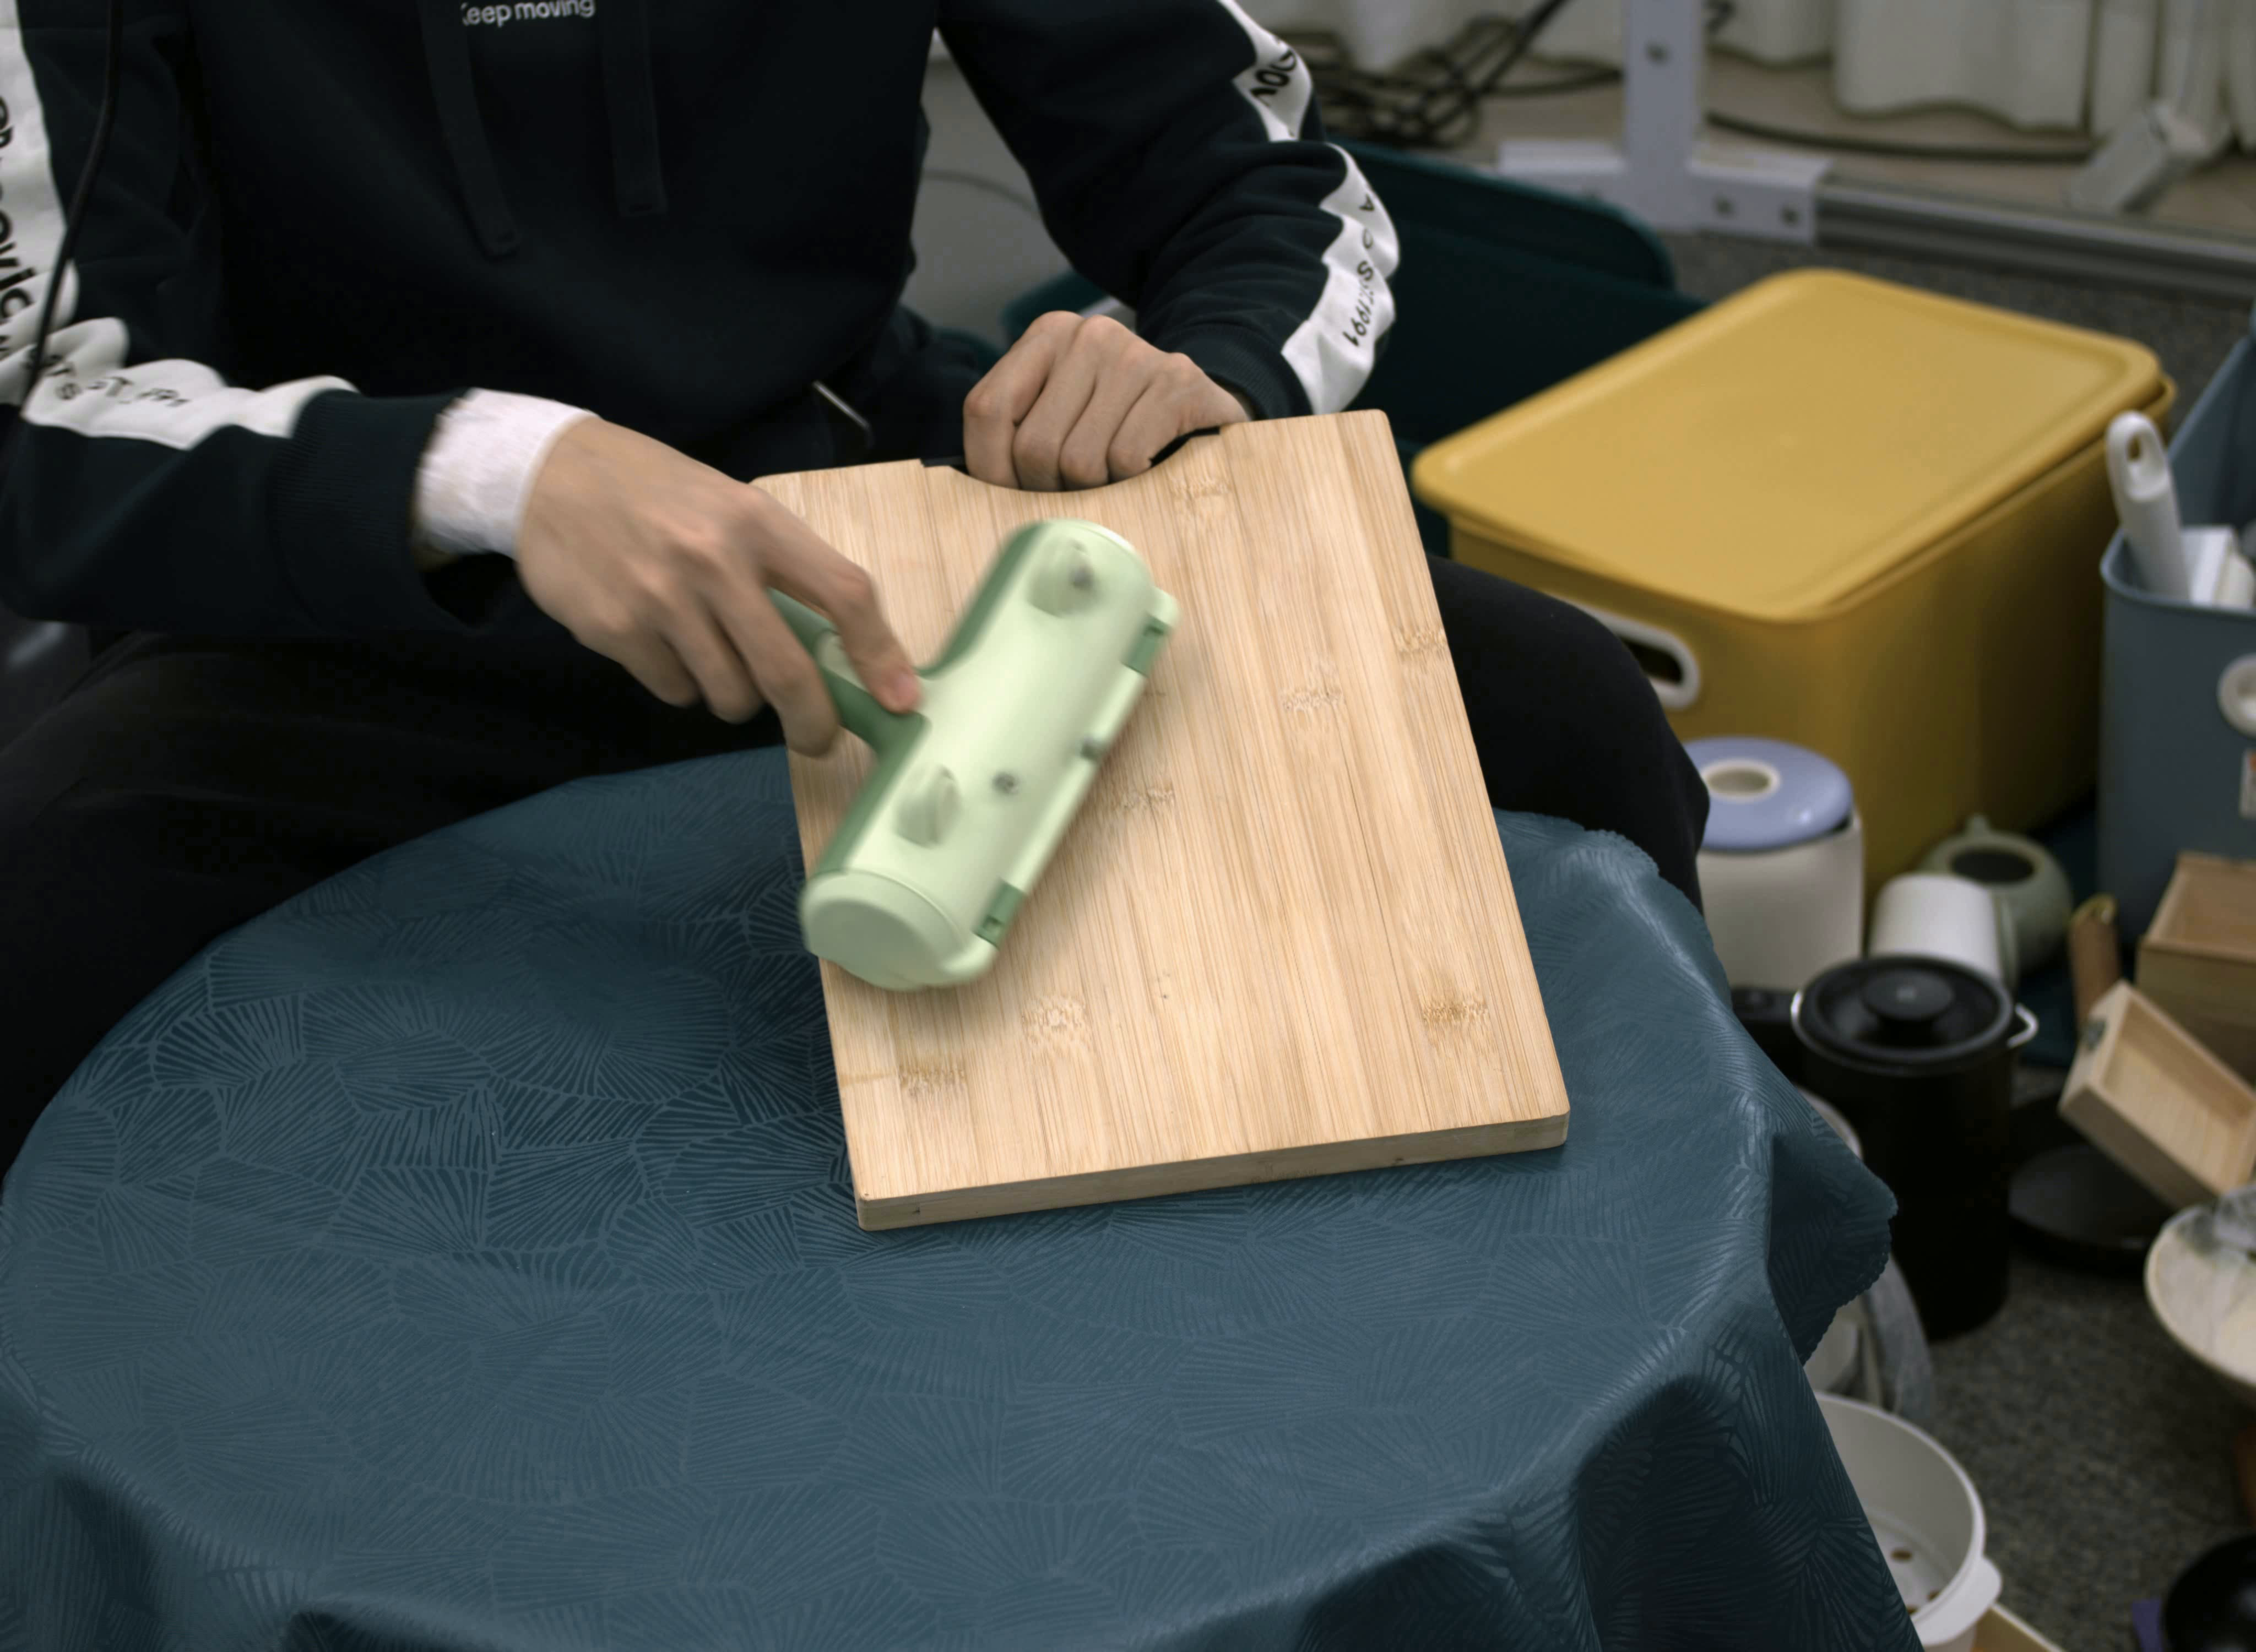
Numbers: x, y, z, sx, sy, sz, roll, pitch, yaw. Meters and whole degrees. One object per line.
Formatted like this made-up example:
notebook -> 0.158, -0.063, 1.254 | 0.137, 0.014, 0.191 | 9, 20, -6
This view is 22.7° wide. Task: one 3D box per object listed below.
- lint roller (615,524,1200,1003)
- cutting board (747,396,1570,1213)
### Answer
lint roller -> -0.088, -0.056, 1.922 | 0.183, 0.081, 0.202 | 31, 51, -2
cutting board -> 0.003, -0.013, 1.972 | 0.250, 0.023, 0.355 | -6, 48, -7
